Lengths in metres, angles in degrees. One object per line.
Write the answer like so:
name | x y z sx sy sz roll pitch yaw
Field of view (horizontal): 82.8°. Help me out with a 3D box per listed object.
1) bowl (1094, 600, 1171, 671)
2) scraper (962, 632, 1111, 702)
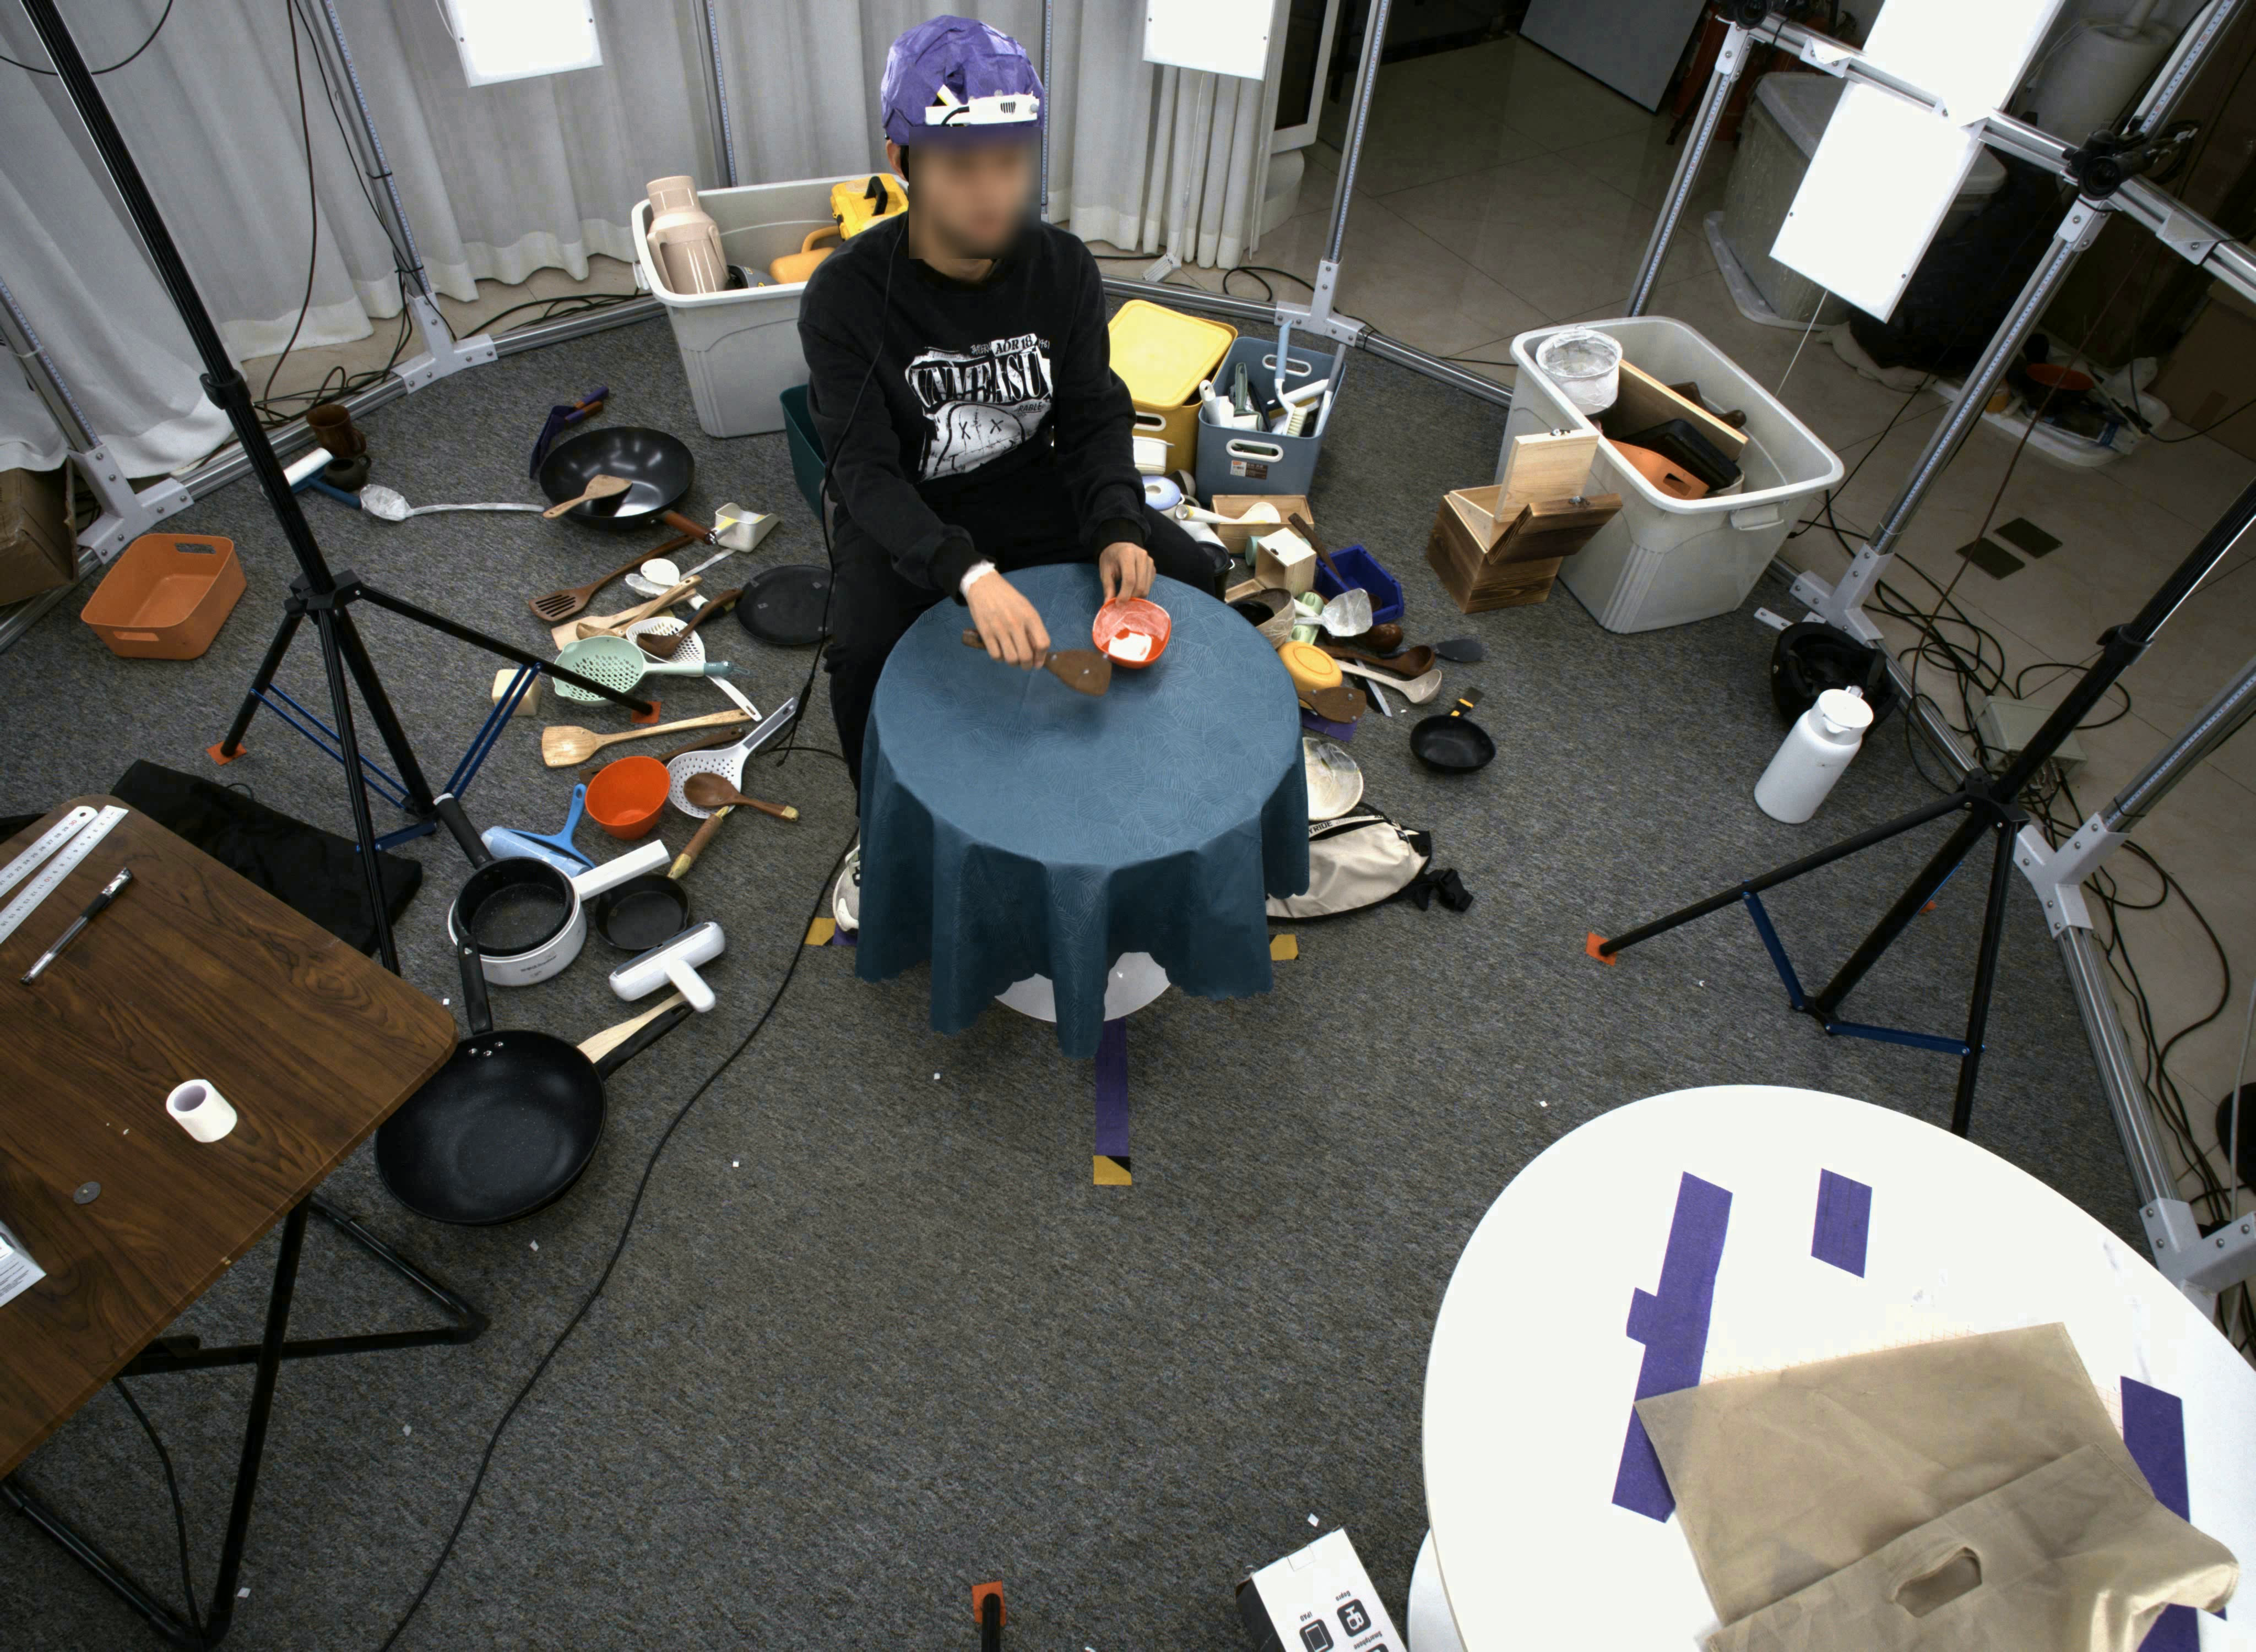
bowl | 0.005 -0.271 1.880 0.119 0.050 0.121 1 63 -2
scraper | -0.126 -0.227 1.775 0.210 0.010 0.077 17 55 -9
